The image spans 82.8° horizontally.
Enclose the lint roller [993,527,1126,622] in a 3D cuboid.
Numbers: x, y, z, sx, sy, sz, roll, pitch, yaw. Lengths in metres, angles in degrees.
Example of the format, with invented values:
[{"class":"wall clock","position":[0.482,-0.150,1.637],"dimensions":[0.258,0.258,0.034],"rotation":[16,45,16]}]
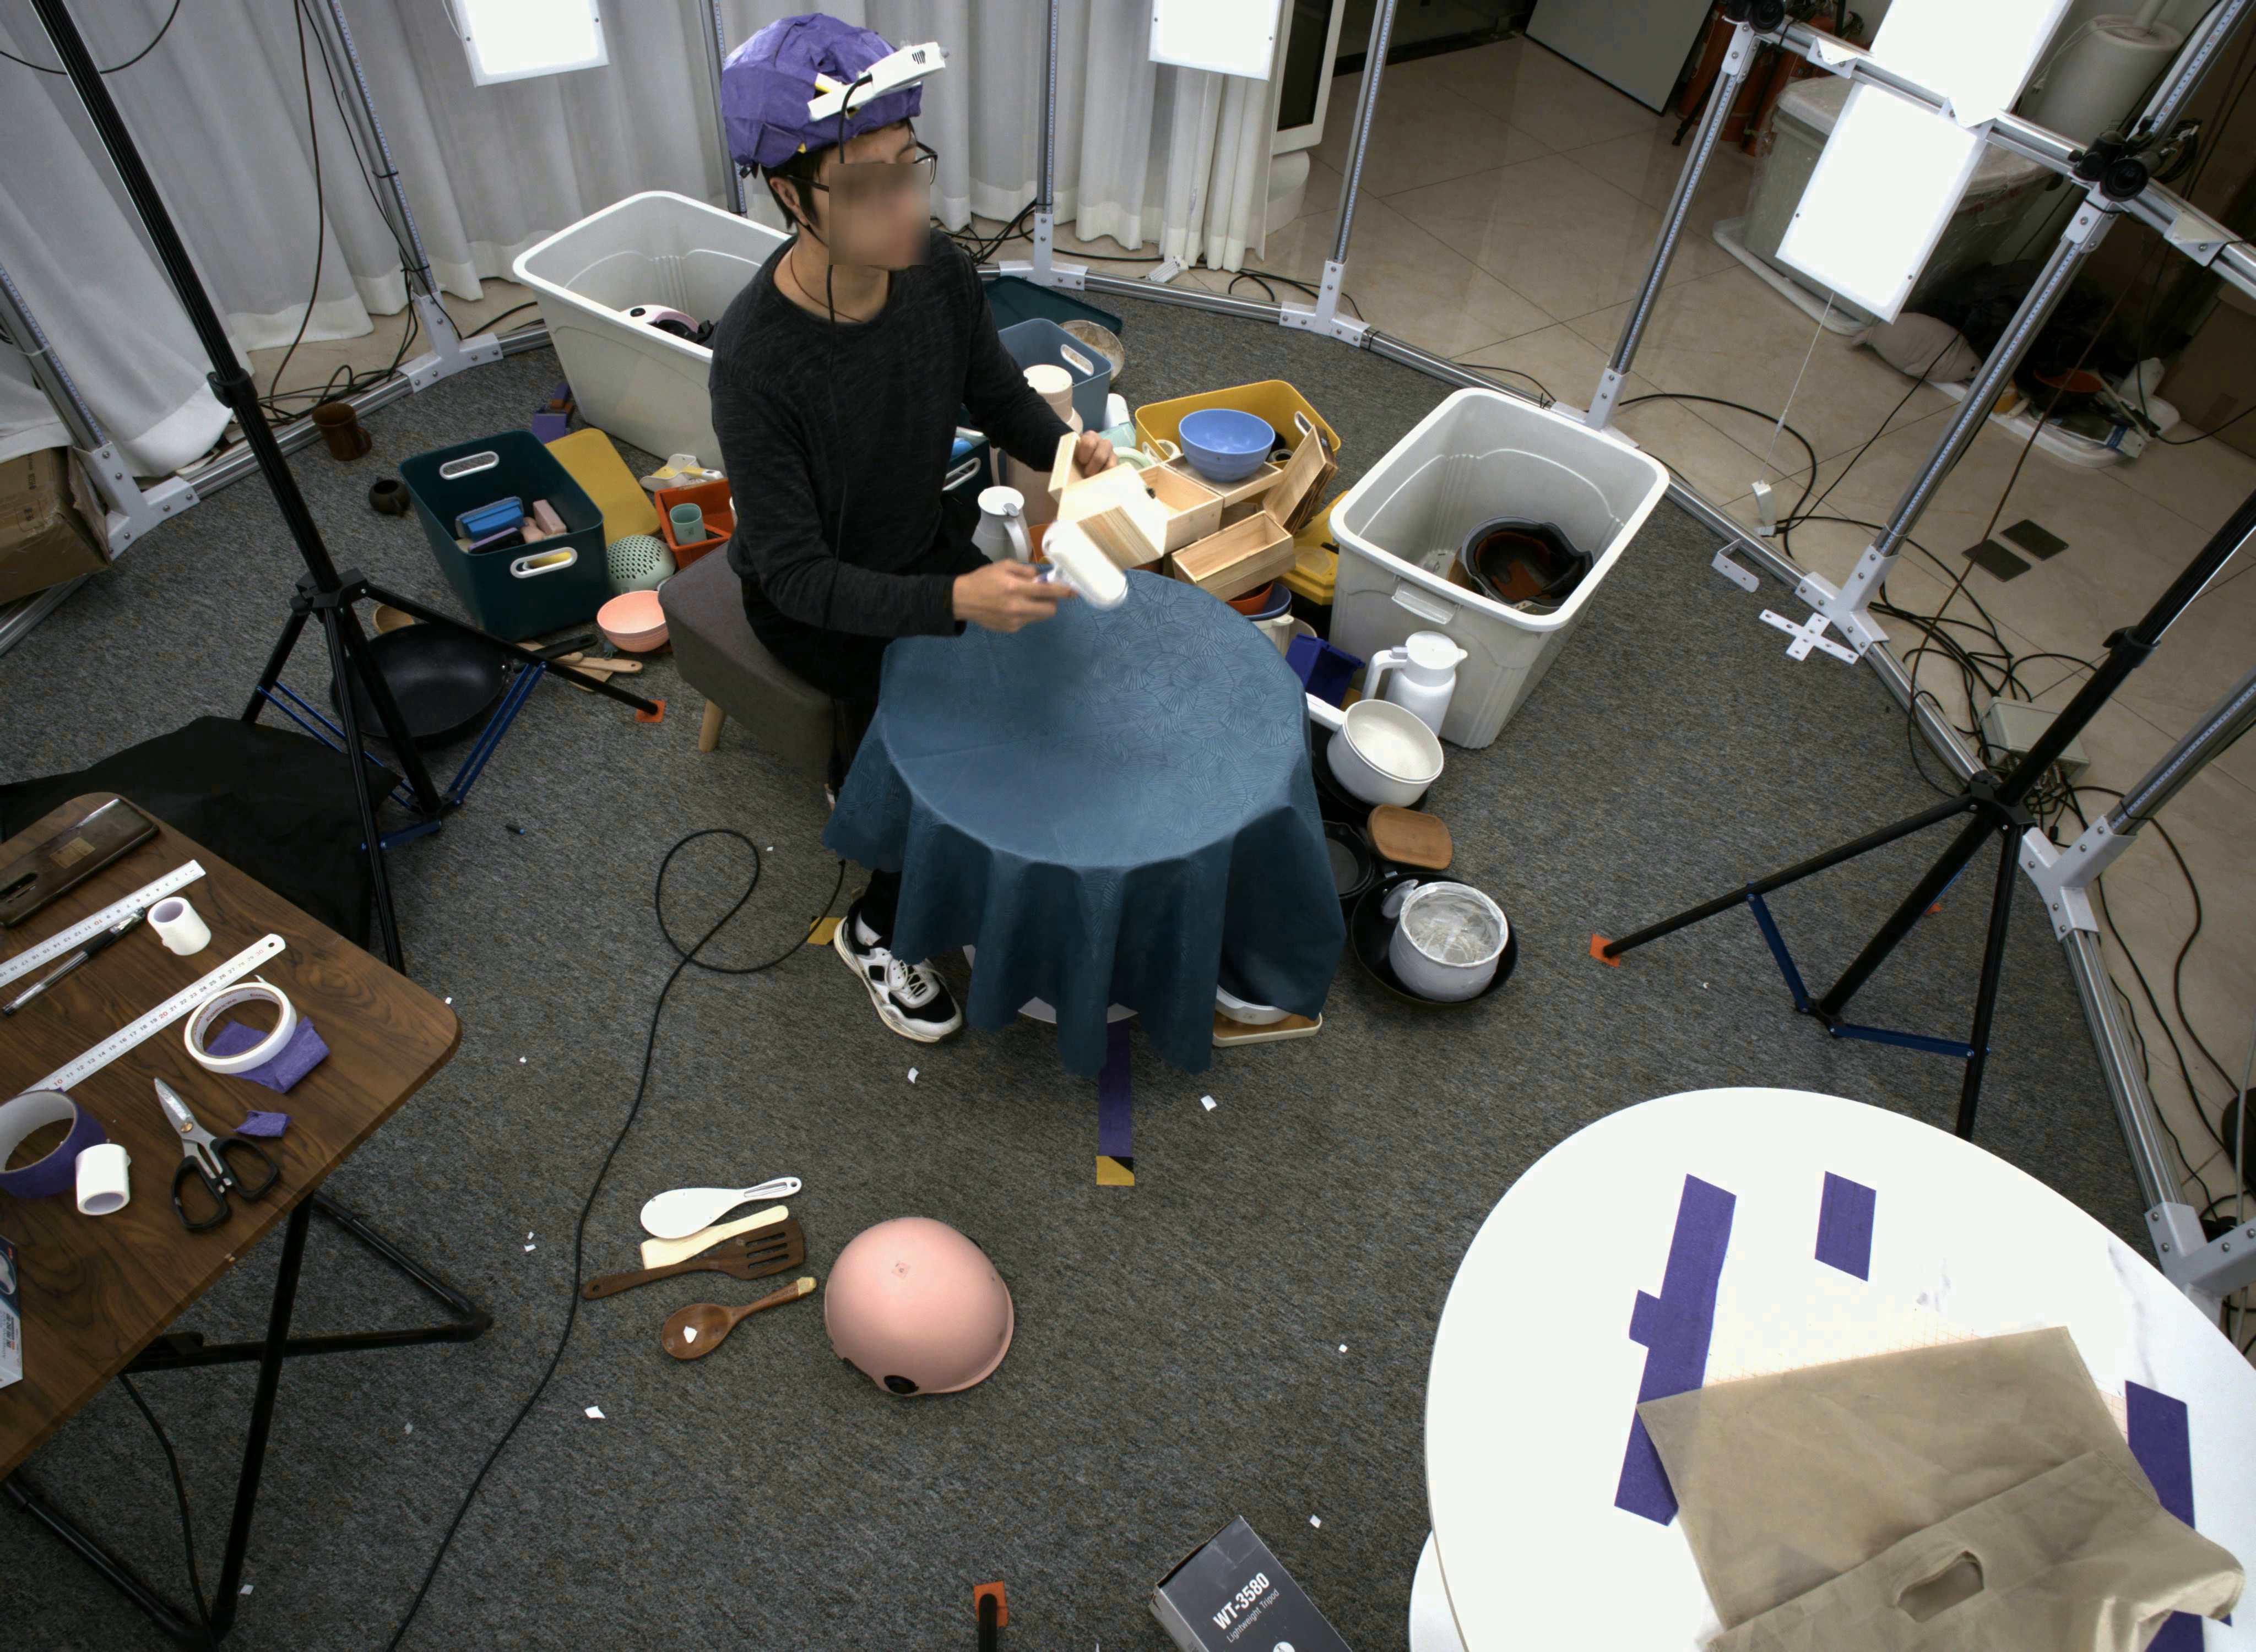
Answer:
[{"class":"lint roller","position":[-0.105,-0.297,1.638],"dimensions":[0.180,0.130,0.051],"rotation":[-25,39,27]}]

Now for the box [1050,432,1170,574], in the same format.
[{"class":"box","position":[-0.020,-0.433,1.683],"dimensions":[0.133,0.100,0.188],"rotation":[-14,51,30]}]
